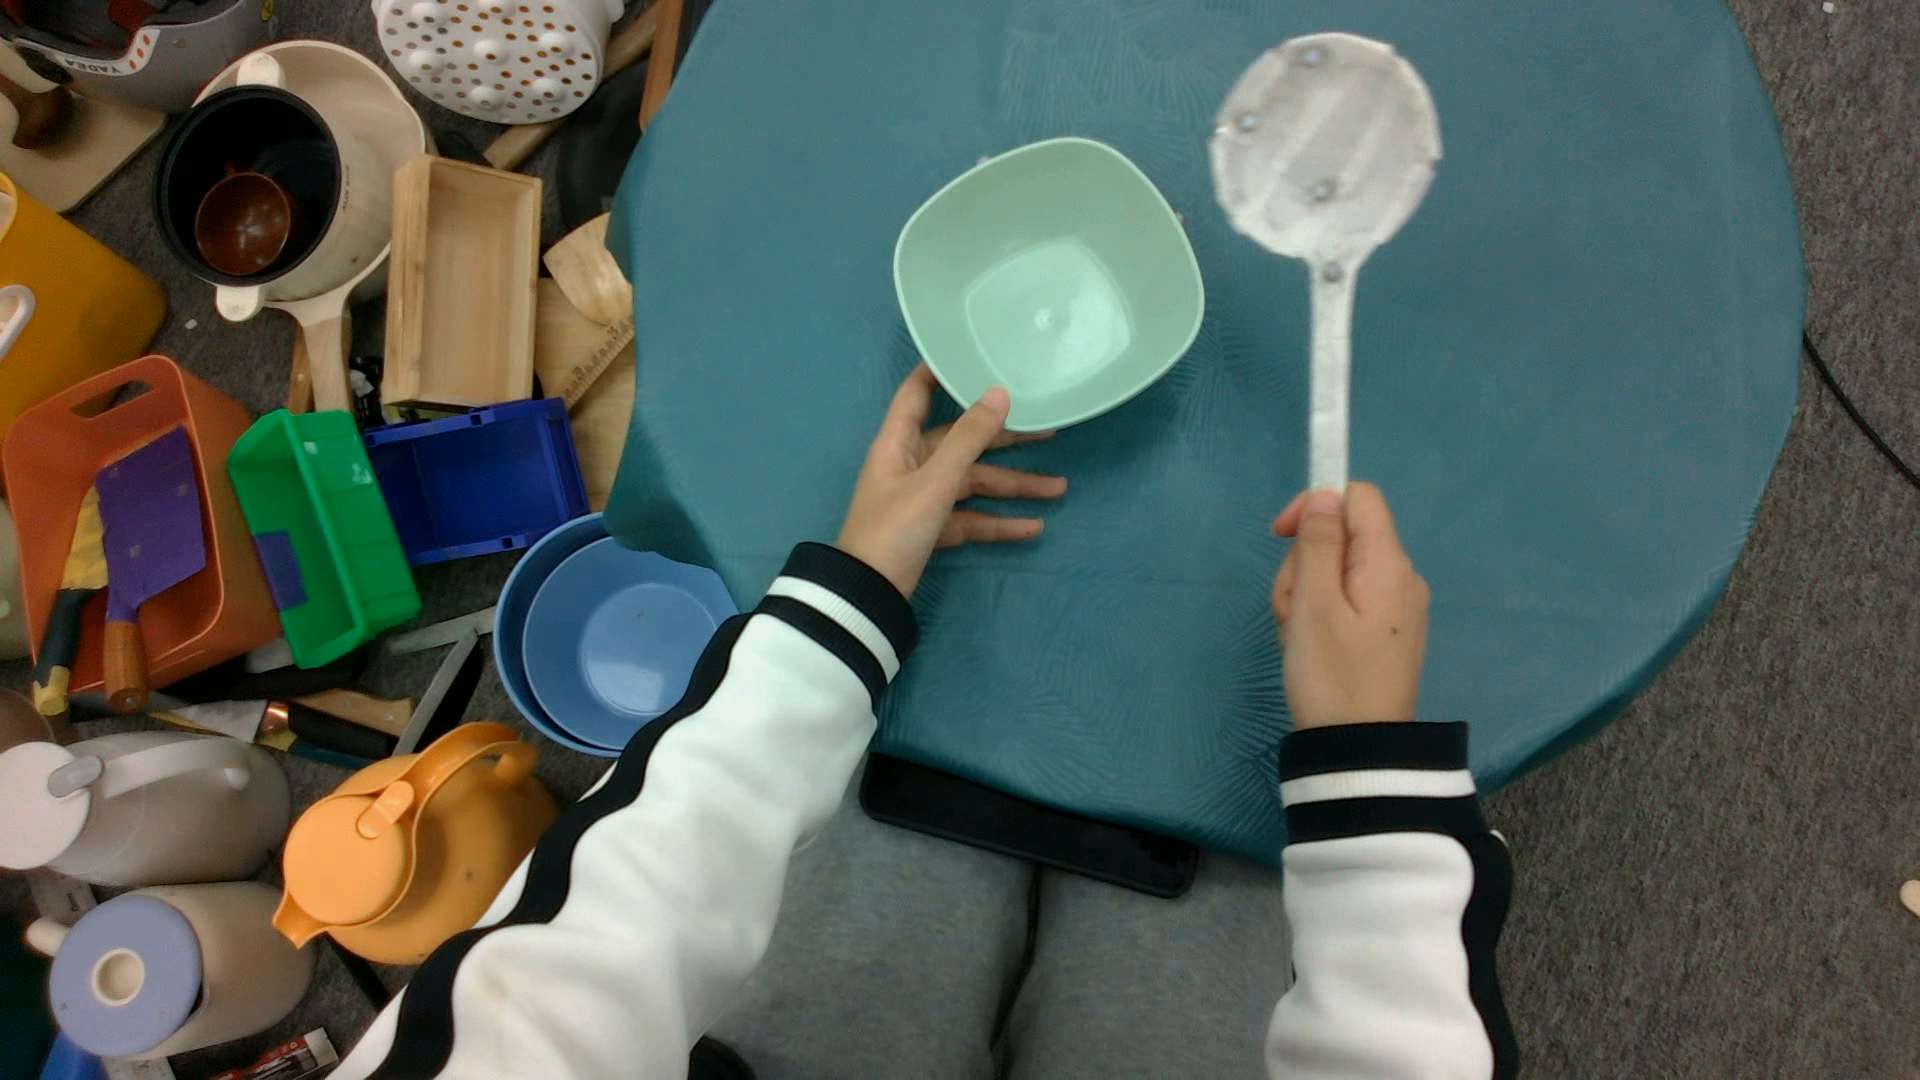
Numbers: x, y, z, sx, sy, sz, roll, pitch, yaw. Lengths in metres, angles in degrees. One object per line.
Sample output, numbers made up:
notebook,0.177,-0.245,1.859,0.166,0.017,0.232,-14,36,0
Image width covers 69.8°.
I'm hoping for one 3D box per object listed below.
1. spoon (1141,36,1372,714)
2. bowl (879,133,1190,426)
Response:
spoon,0.121,-0.067,0.578,0.100,0.059,0.277,-1,83,35
bowl,0.036,-0.121,0.683,0.151,0.058,0.152,-1,78,3
